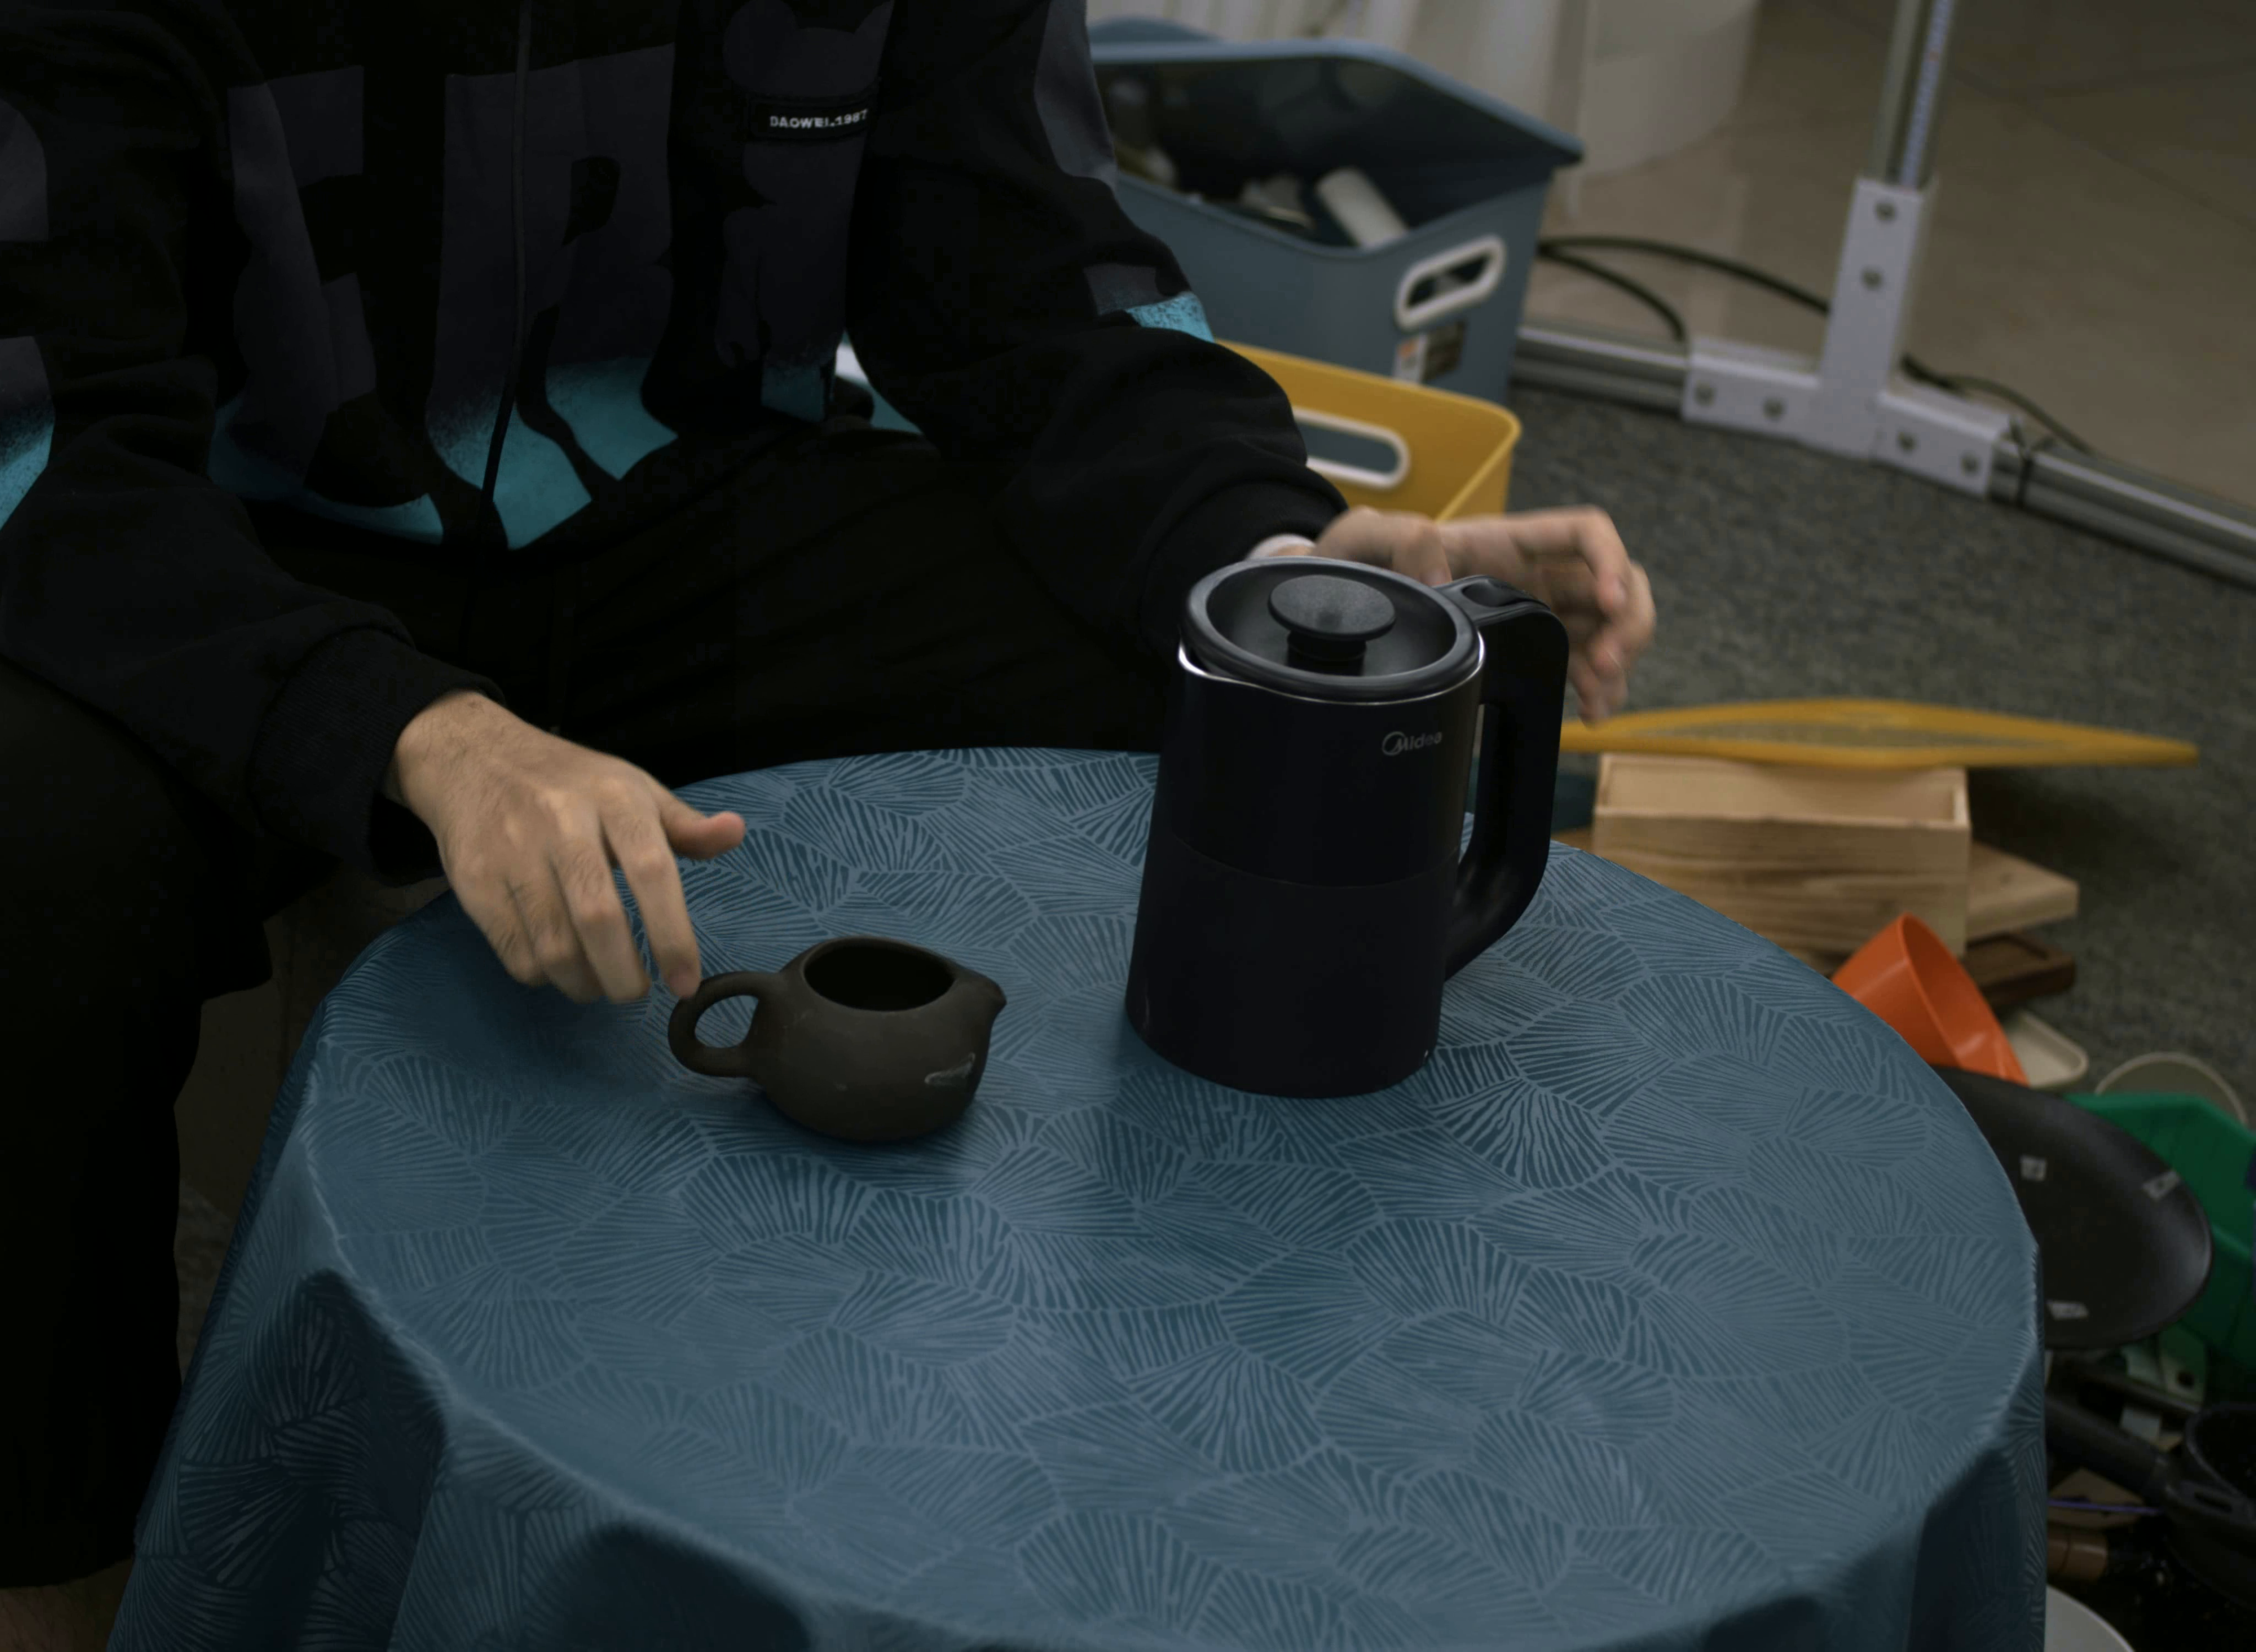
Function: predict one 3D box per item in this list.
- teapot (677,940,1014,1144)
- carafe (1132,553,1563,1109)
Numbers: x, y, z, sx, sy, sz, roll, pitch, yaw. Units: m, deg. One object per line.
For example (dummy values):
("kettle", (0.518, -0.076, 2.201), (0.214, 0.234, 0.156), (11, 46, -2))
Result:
("teapot", (-0.098, 0.072, 1.824), (0.113, 0.053, 0.083), (7, 25, -5))
("carafe", (0.081, -0.009, 1.890), (0.170, 0.173, 0.115), (-17, 33, -34))
